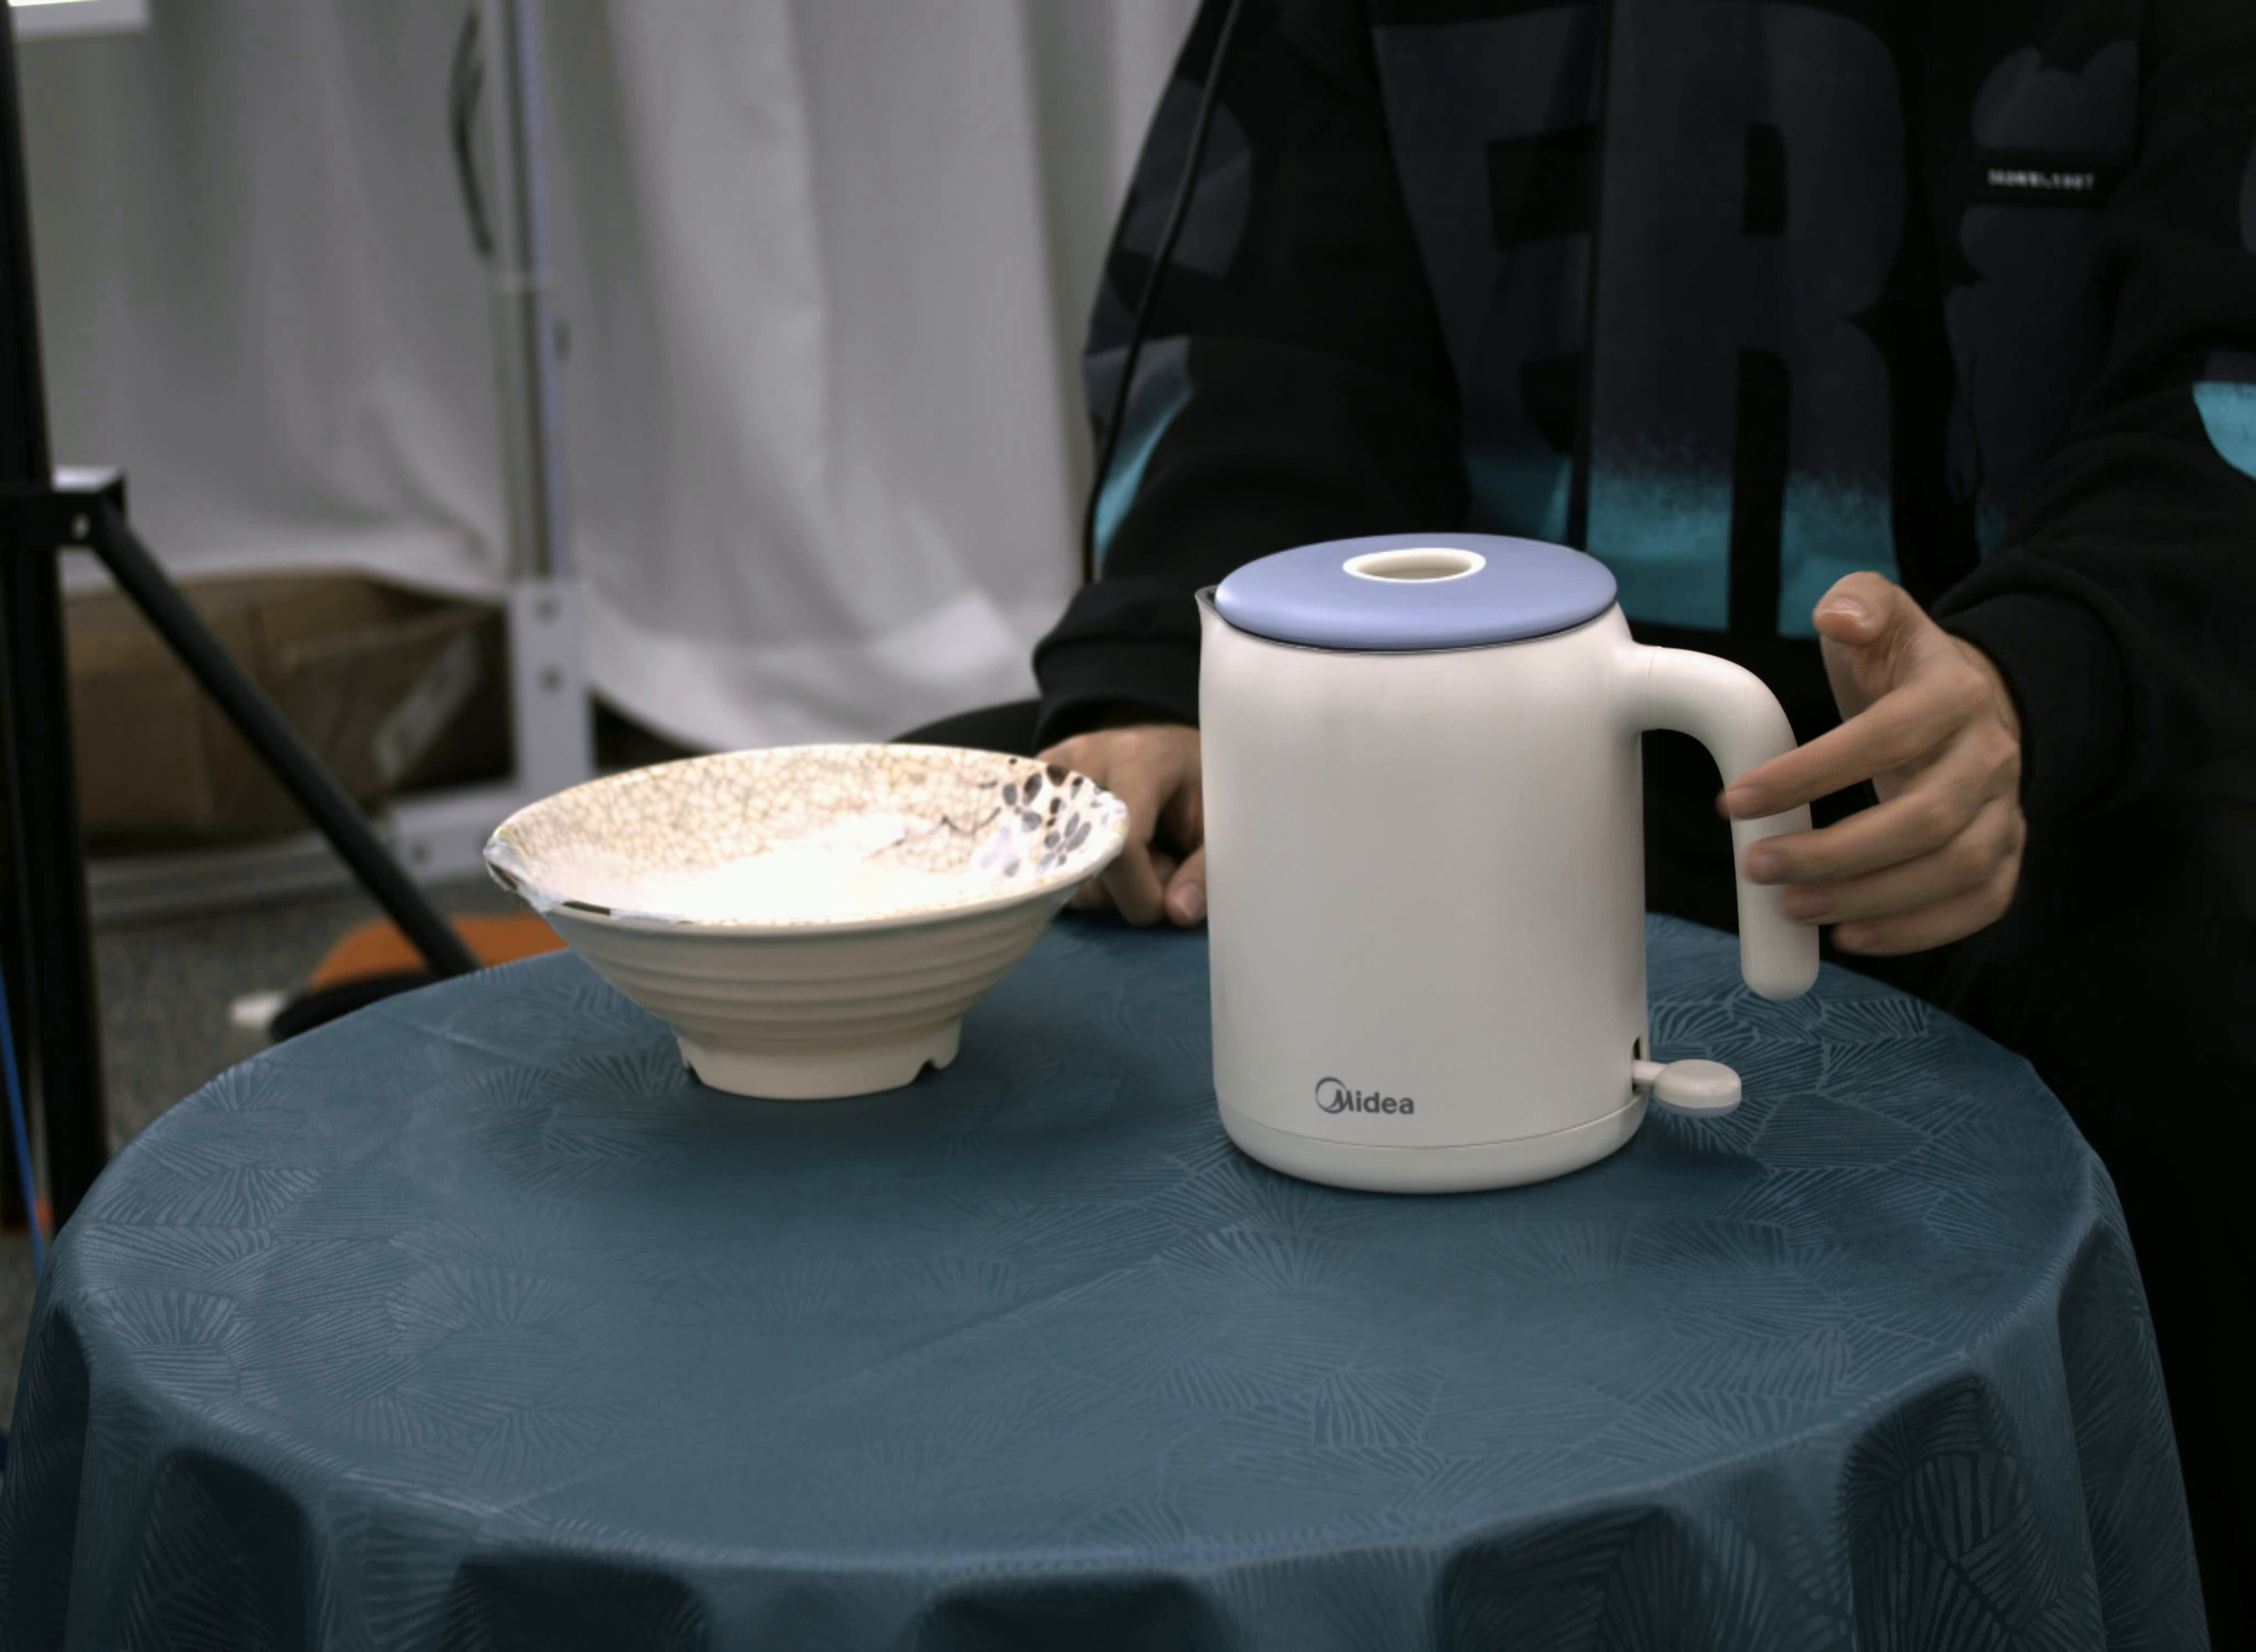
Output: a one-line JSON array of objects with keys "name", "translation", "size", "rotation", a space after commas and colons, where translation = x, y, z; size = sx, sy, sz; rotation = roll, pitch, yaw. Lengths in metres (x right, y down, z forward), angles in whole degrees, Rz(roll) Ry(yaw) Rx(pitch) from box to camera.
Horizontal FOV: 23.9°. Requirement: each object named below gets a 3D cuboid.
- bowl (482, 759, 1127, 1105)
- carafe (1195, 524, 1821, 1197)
[{"name": "bowl", "translation": [-0.101, 0.039, 1.683], "size": [0.203, 0.078, 0.205], "rotation": [-1, 13, -1]}, {"name": "carafe", "translation": [0.111, 0.012, 1.568], "size": [0.193, 0.182, 0.131], "rotation": [6, 18, 20]}]
